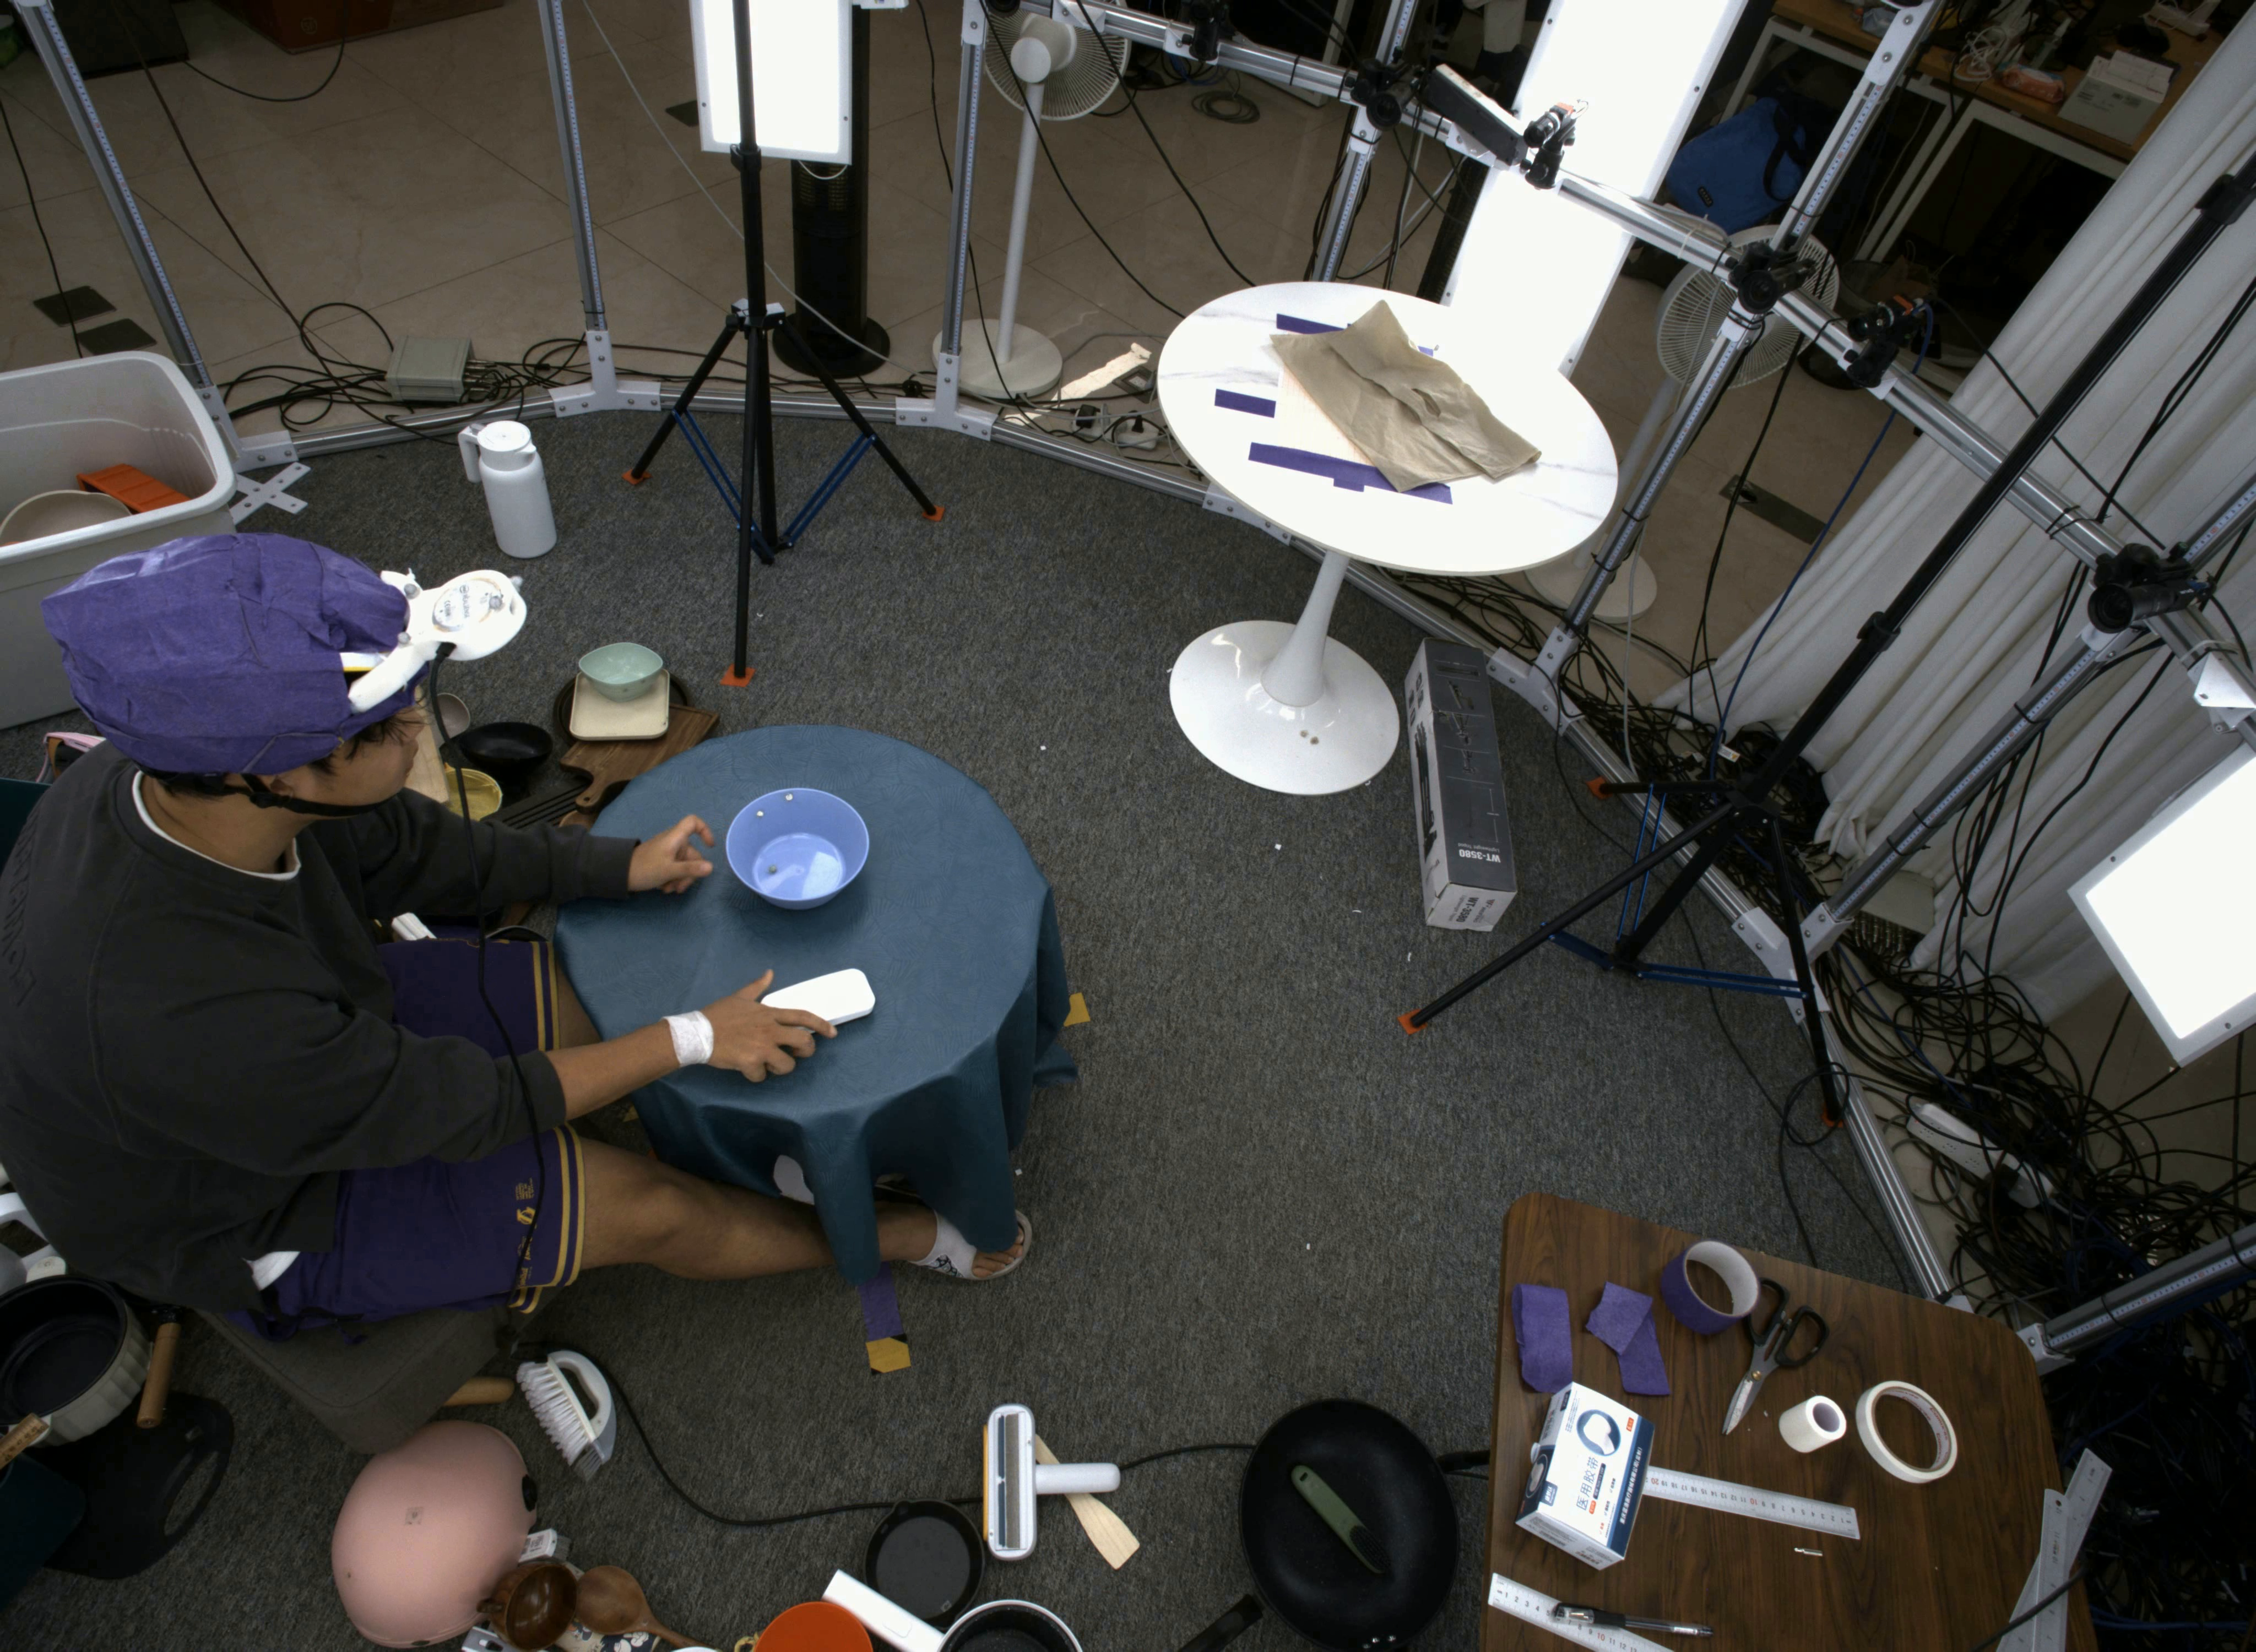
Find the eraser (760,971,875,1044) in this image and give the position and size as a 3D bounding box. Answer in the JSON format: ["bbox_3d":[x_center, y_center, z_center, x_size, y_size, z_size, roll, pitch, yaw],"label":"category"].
[{"bbox_3d":[-0.374,0.214,1.561,0.132,0.035,0.062,-14,56,-26],"label":"eraser"}]

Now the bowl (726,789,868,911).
[{"bbox_3d":[-0.420,0.040,1.654,0.175,0.072,0.173,8,51,-8],"label":"bowl"}]
